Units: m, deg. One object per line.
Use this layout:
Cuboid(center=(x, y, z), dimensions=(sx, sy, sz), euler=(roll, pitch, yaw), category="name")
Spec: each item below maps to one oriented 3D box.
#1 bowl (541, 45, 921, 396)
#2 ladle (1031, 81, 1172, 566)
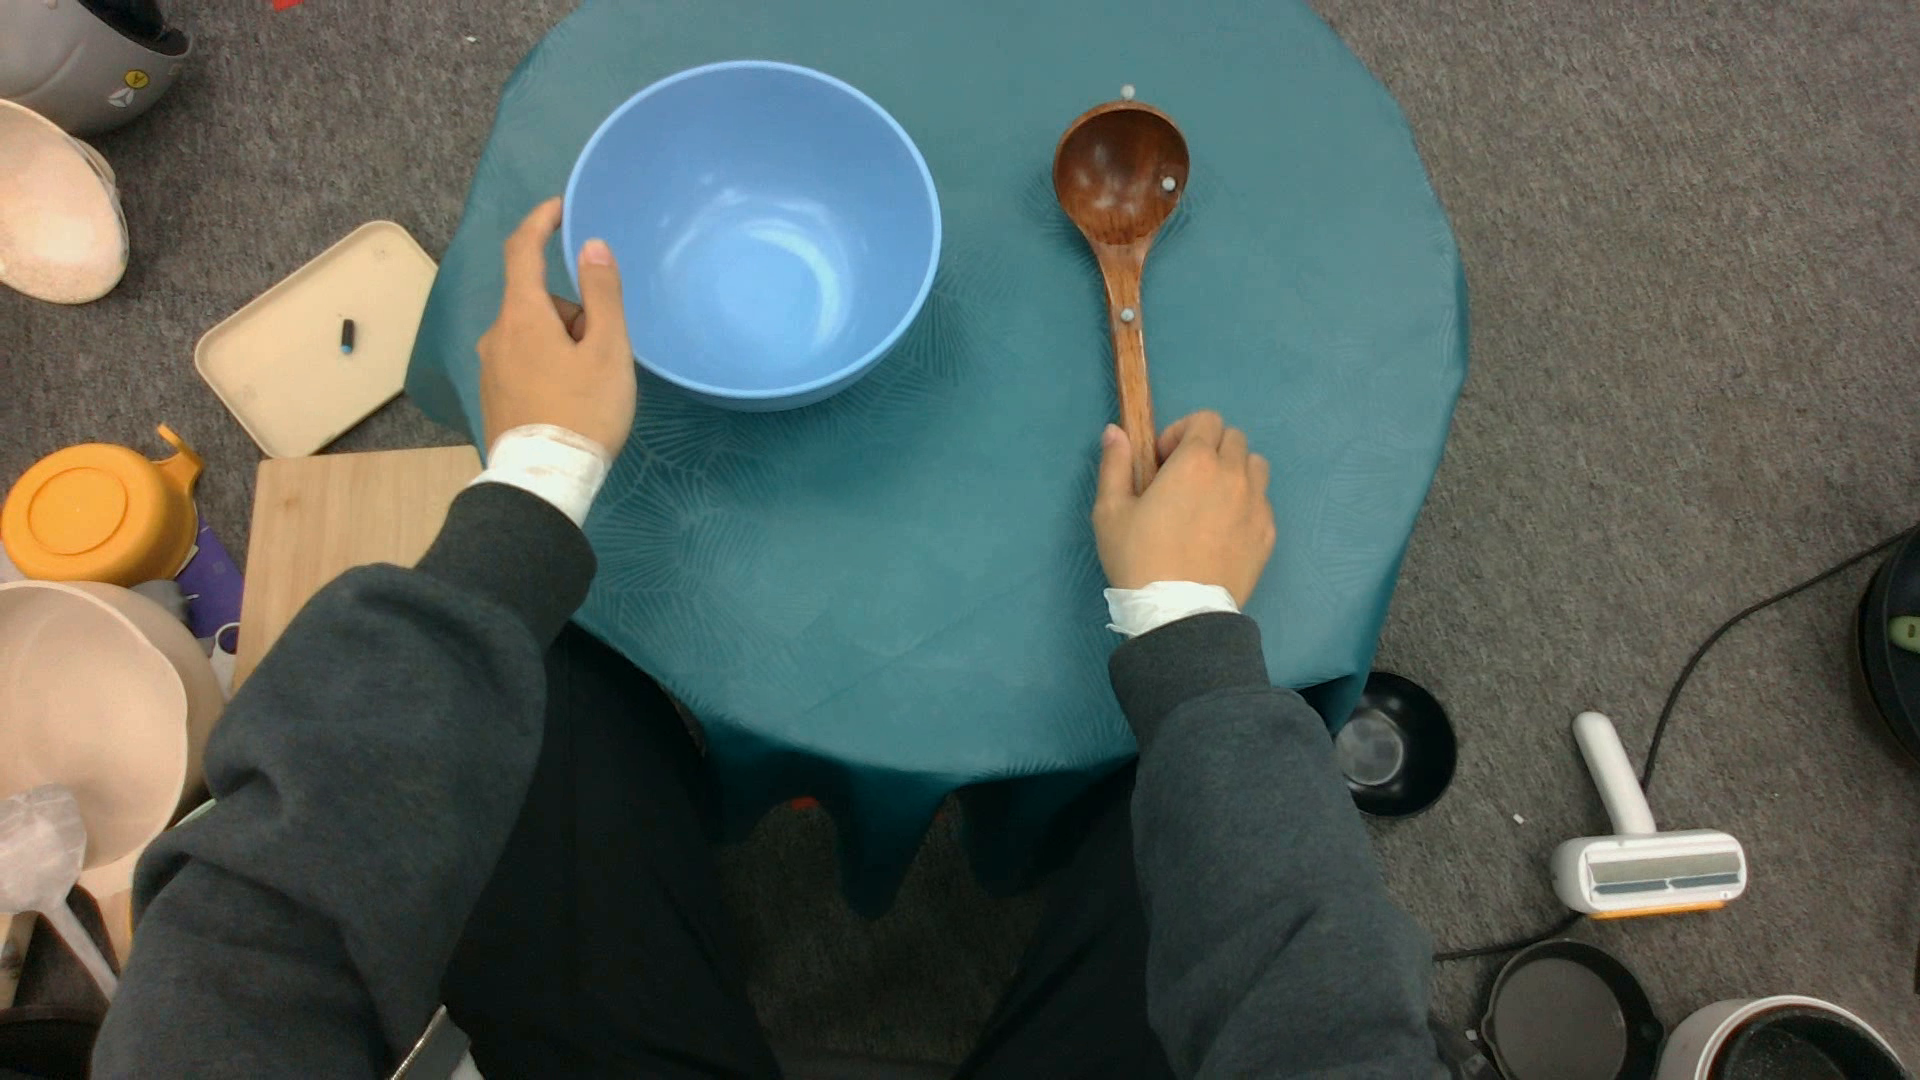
Cuboid(center=(-0.122, -0.161, 0.761), dimensions=(0.196, 0.095, 0.197), euler=(1, 75, -5), category="bowl")
Cuboid(center=(0.085, -0.126, 0.776), dimensions=(0.082, 0.076, 0.275), euler=(-2, 73, 3), category="ladle")
